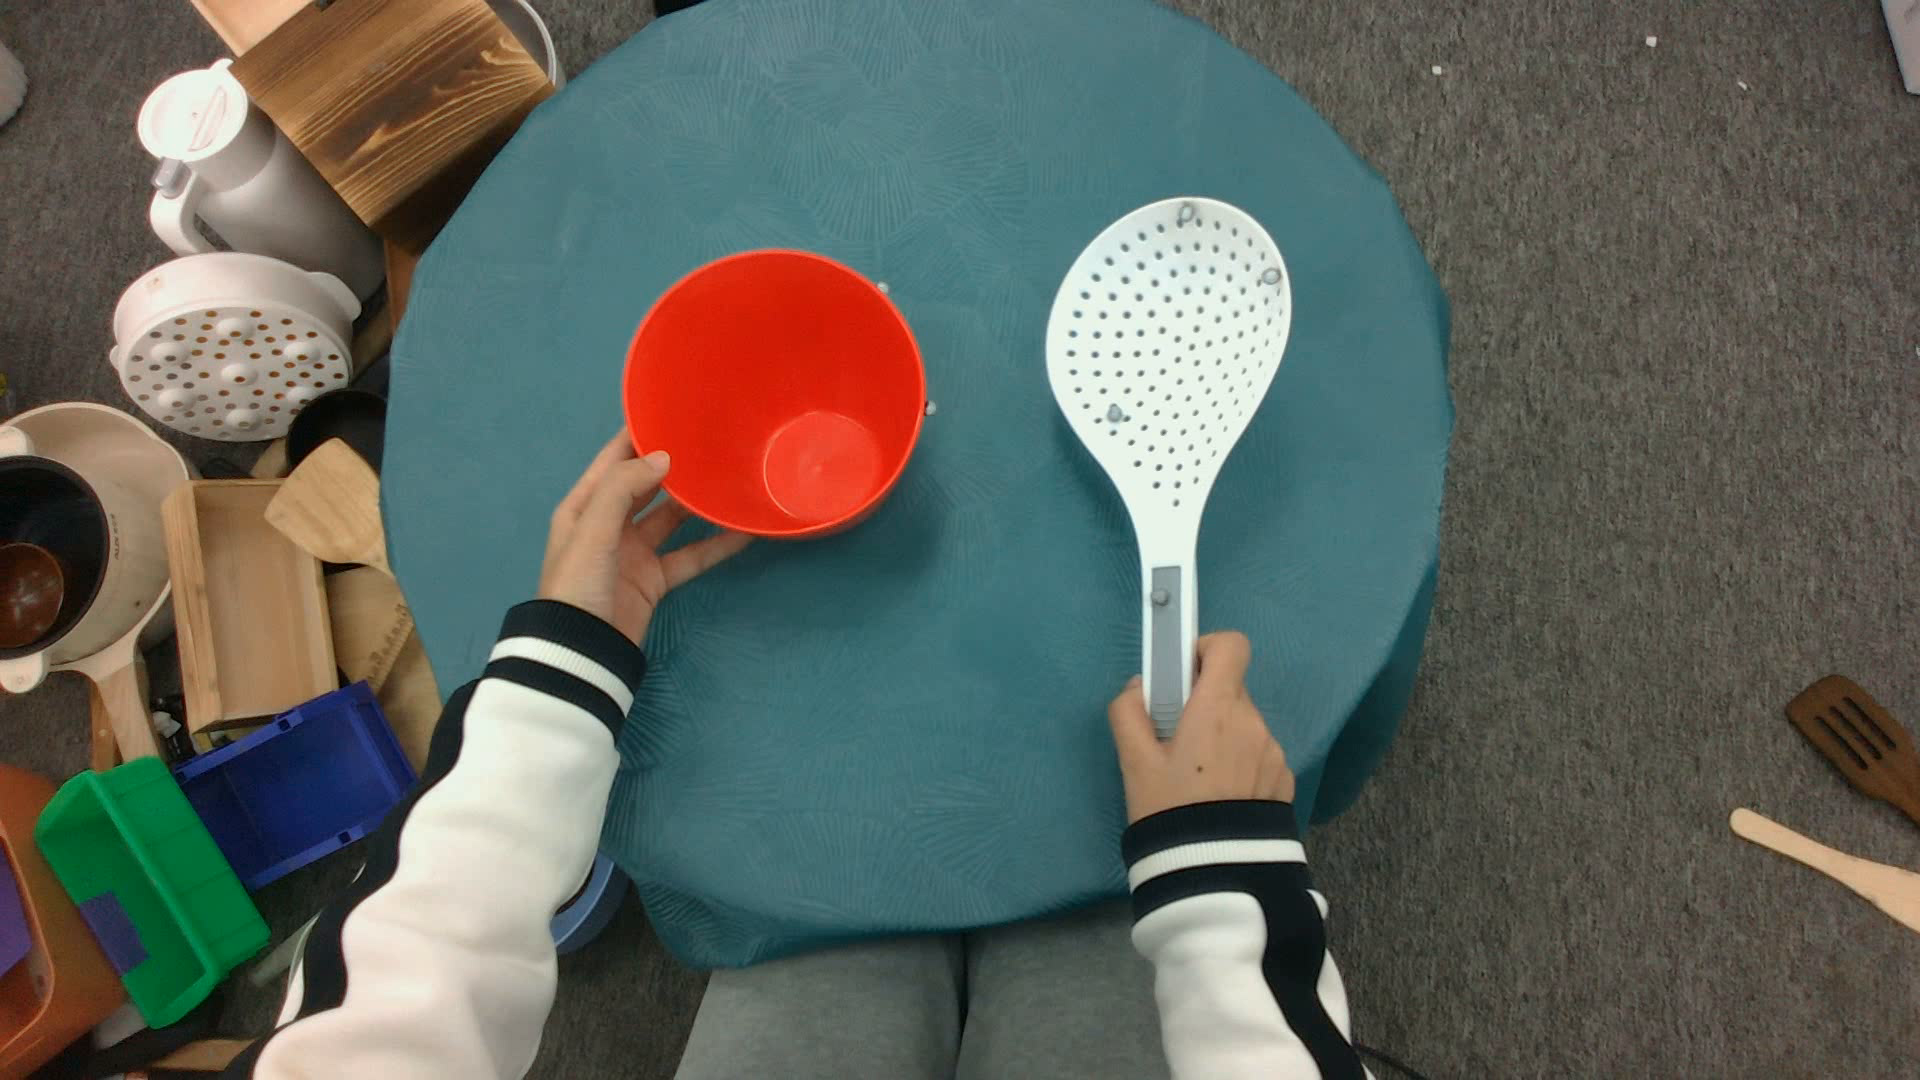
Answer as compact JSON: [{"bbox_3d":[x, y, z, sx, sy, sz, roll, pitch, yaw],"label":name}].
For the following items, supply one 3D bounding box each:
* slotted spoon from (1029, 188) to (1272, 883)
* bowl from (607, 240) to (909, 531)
[{"bbox_3d":[0.097,-0.008,0.694,0.135,0.046,0.350,-6,73,31],"label":"slotted spoon"},{"bbox_3d":[-0.098,-0.067,0.718,0.148,0.104,0.148,0,70,1],"label":"bowl"}]
